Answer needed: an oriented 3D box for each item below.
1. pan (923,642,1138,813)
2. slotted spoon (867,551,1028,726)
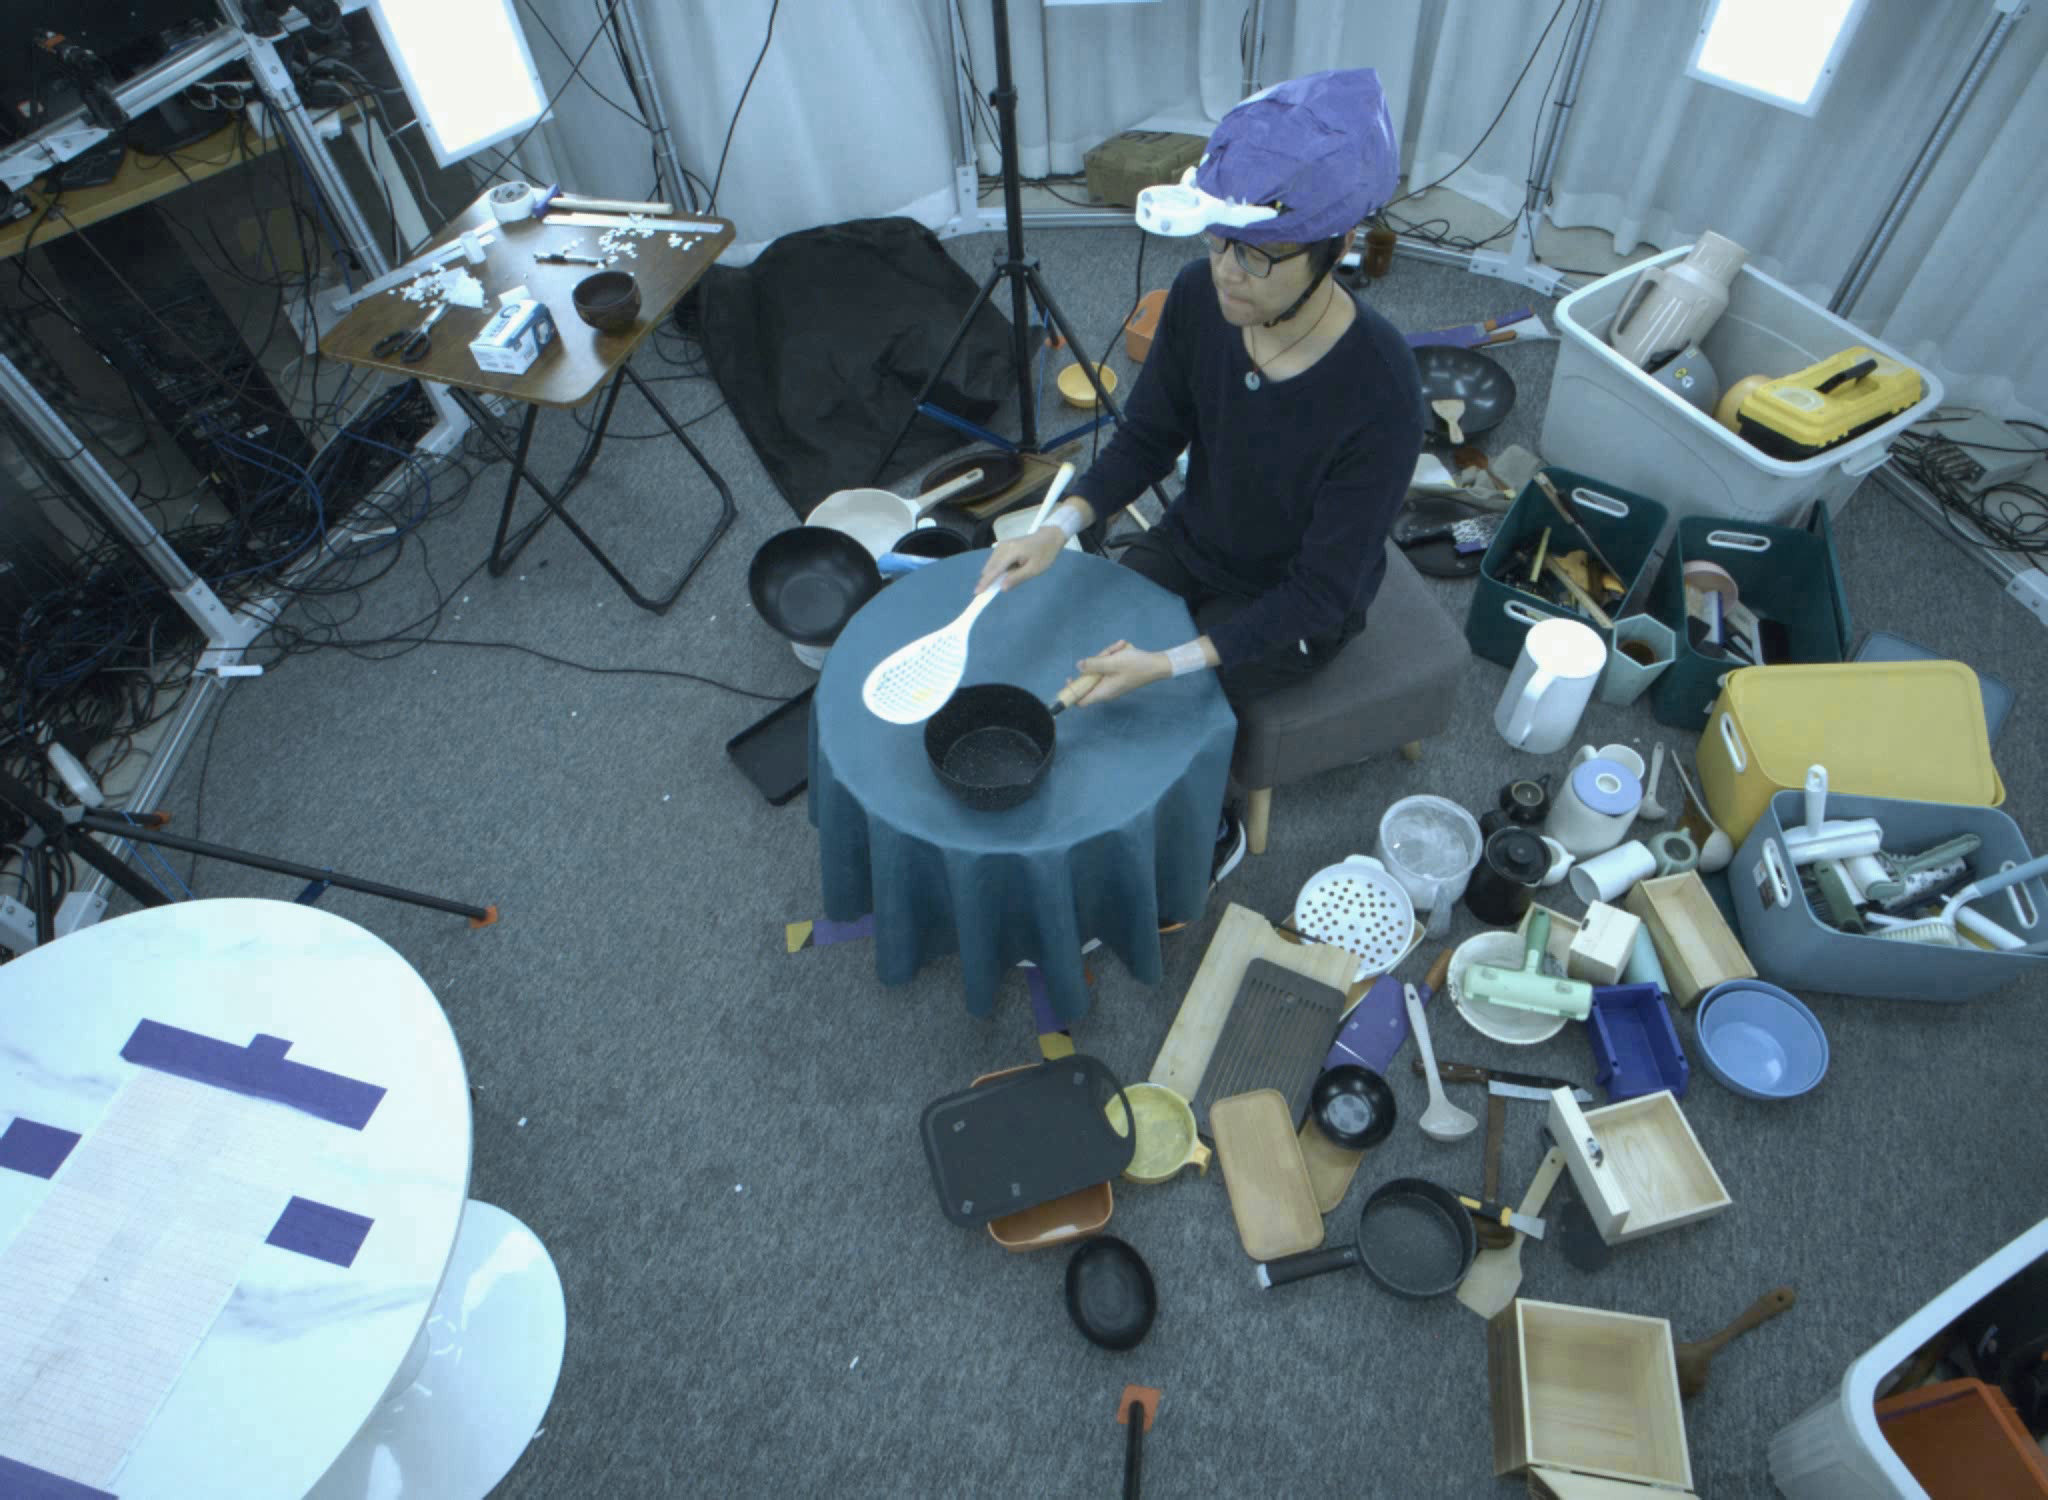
[{"bbox_3d":[0.019,-0.042,1.750,0.345,0.109,0.203,-31,58,-18],"label":"pan"},{"bbox_3d":[-0.089,-0.167,1.750,0.134,0.051,0.348,21,68,30],"label":"slotted spoon"}]
